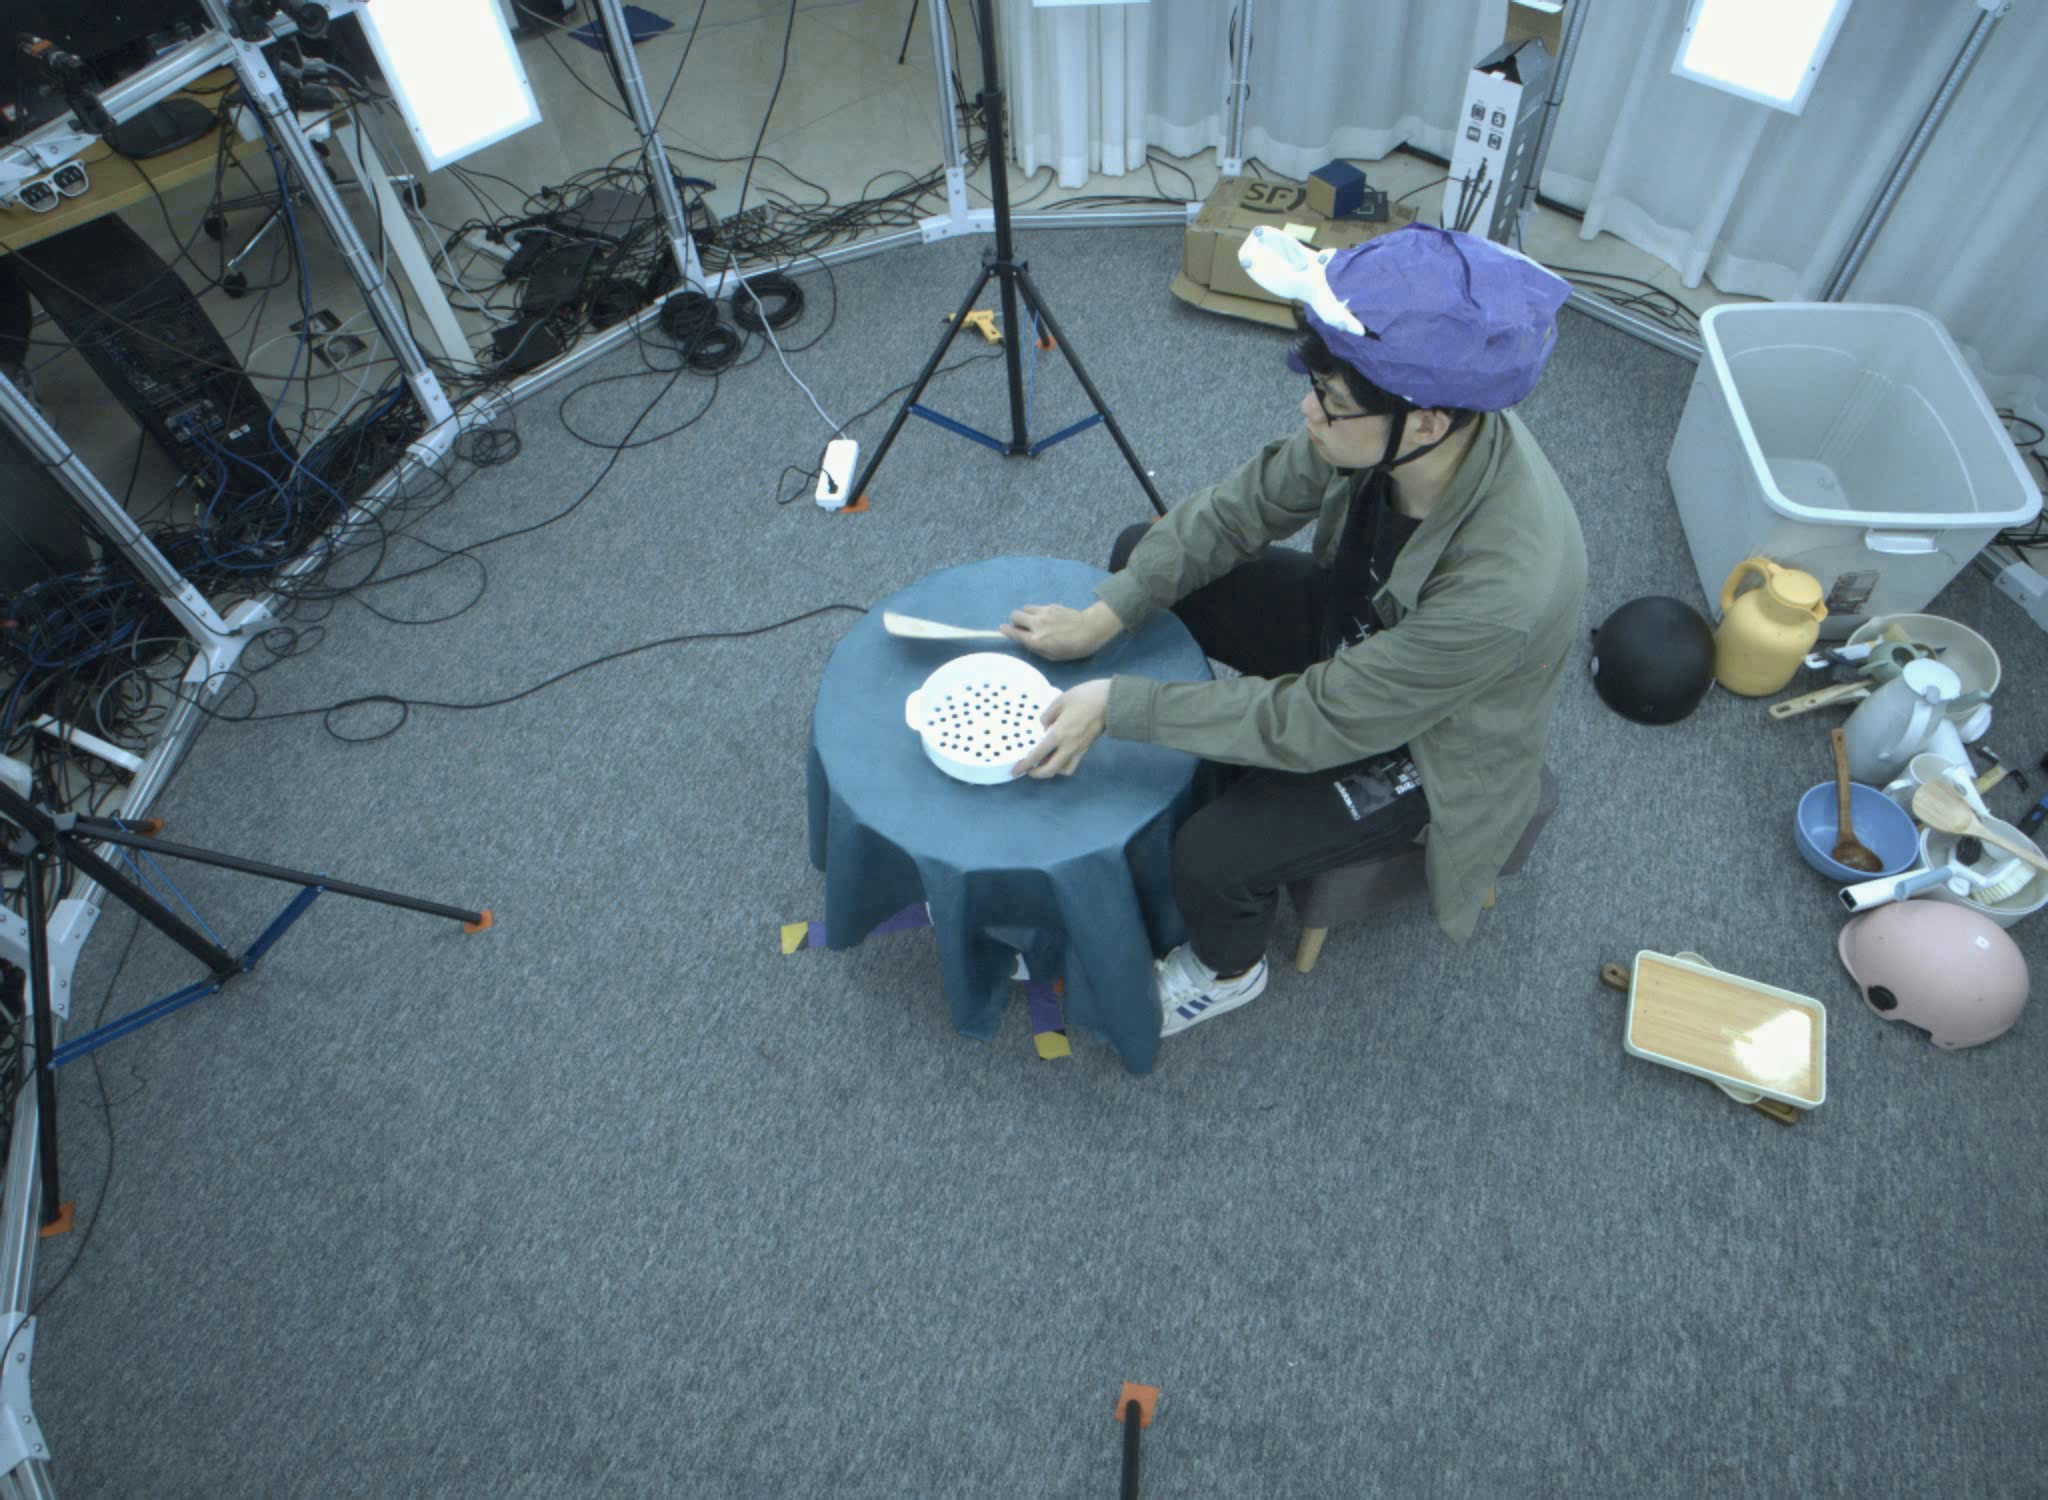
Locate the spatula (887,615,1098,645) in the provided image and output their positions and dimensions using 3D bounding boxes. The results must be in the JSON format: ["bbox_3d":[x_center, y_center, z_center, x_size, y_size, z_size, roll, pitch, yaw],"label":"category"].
[{"bbox_3d":[-0.050,-0.180,1.888,0.328,0.016,0.079,3,28,-3],"label":"spatula"}]

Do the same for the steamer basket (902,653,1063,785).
[{"bbox_3d":[-0.059,-0.043,1.780,0.231,0.070,0.199,-1,57,-4],"label":"steamer basket"}]
